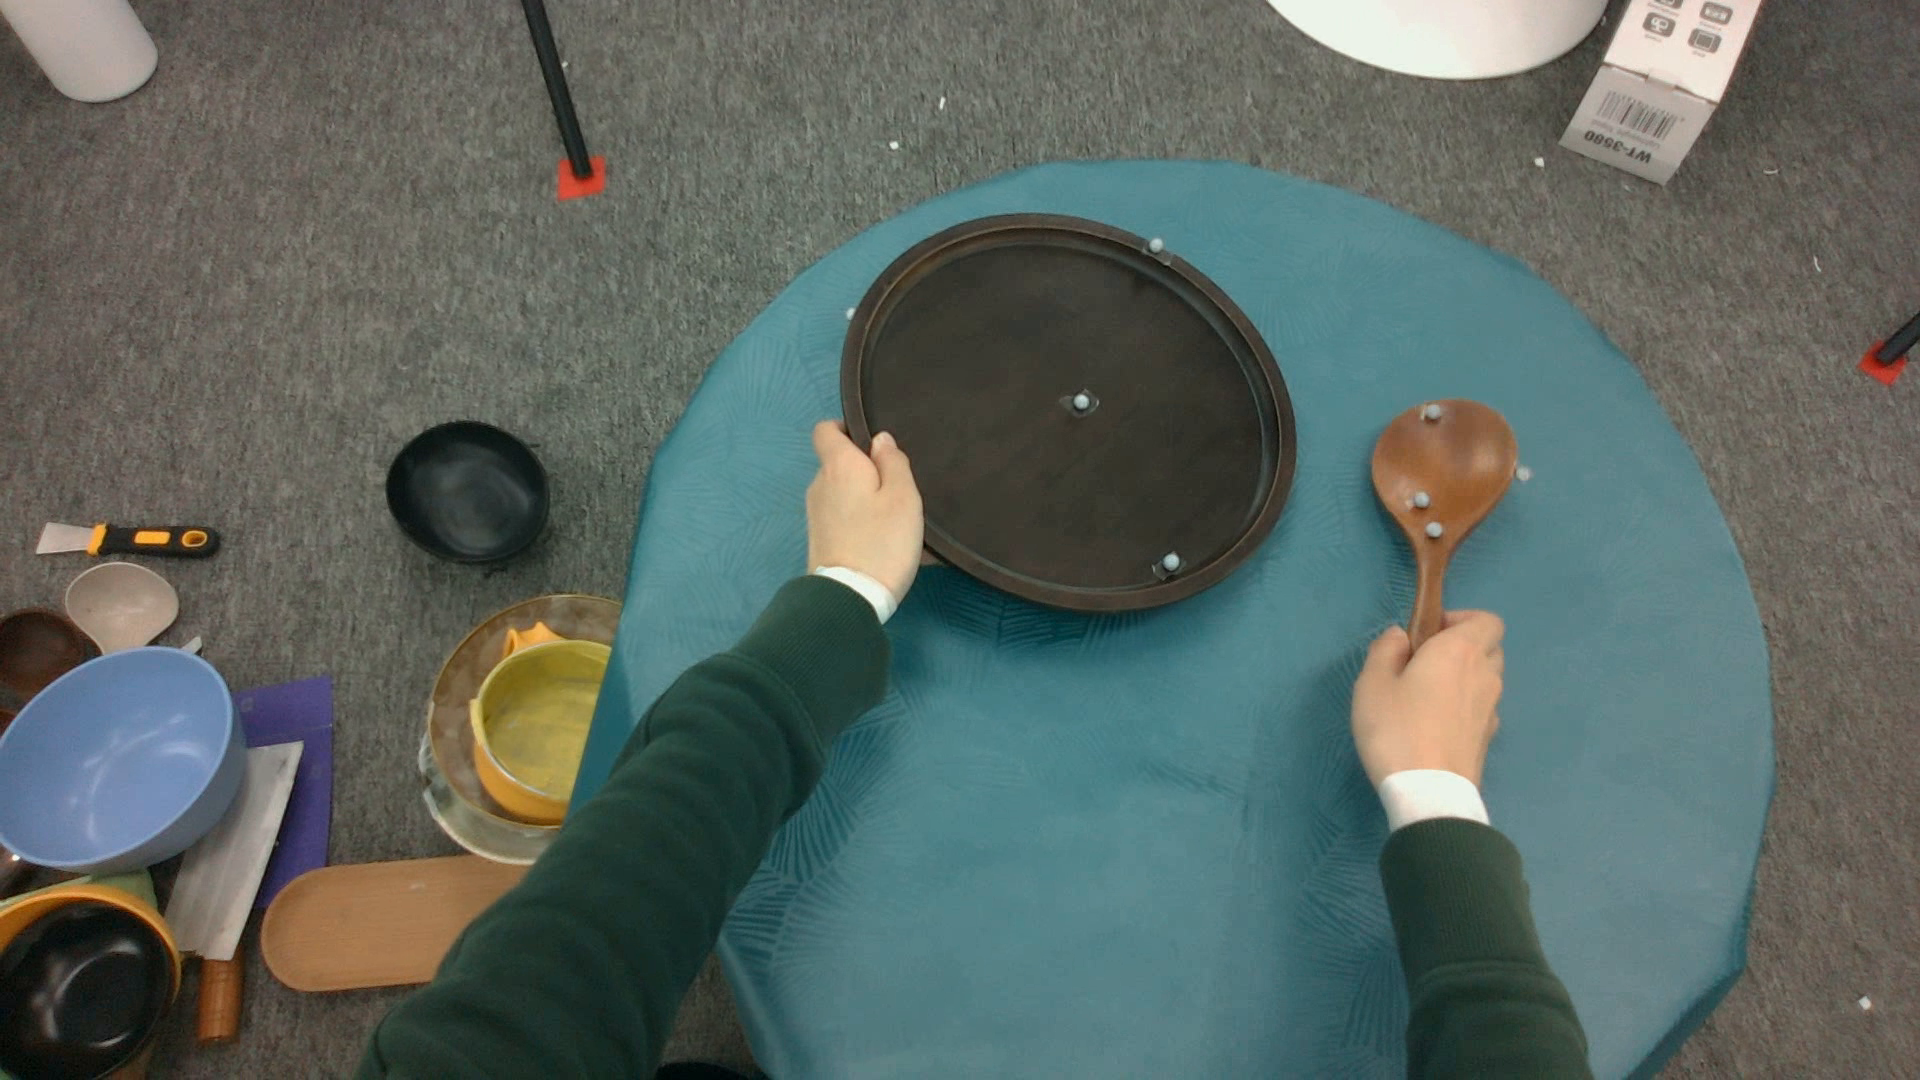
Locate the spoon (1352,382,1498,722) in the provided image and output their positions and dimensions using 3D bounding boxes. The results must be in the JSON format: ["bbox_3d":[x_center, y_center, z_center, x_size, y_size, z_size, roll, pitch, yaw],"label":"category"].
[{"bbox_3d":[0.236,0.000,0.713,0.075,0.017,0.217,1,51,24],"label":"spoon"}]

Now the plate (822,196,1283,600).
[{"bbox_3d":[0.051,-0.081,0.741,0.255,0.029,0.256,6,60,-10],"label":"plate"}]
